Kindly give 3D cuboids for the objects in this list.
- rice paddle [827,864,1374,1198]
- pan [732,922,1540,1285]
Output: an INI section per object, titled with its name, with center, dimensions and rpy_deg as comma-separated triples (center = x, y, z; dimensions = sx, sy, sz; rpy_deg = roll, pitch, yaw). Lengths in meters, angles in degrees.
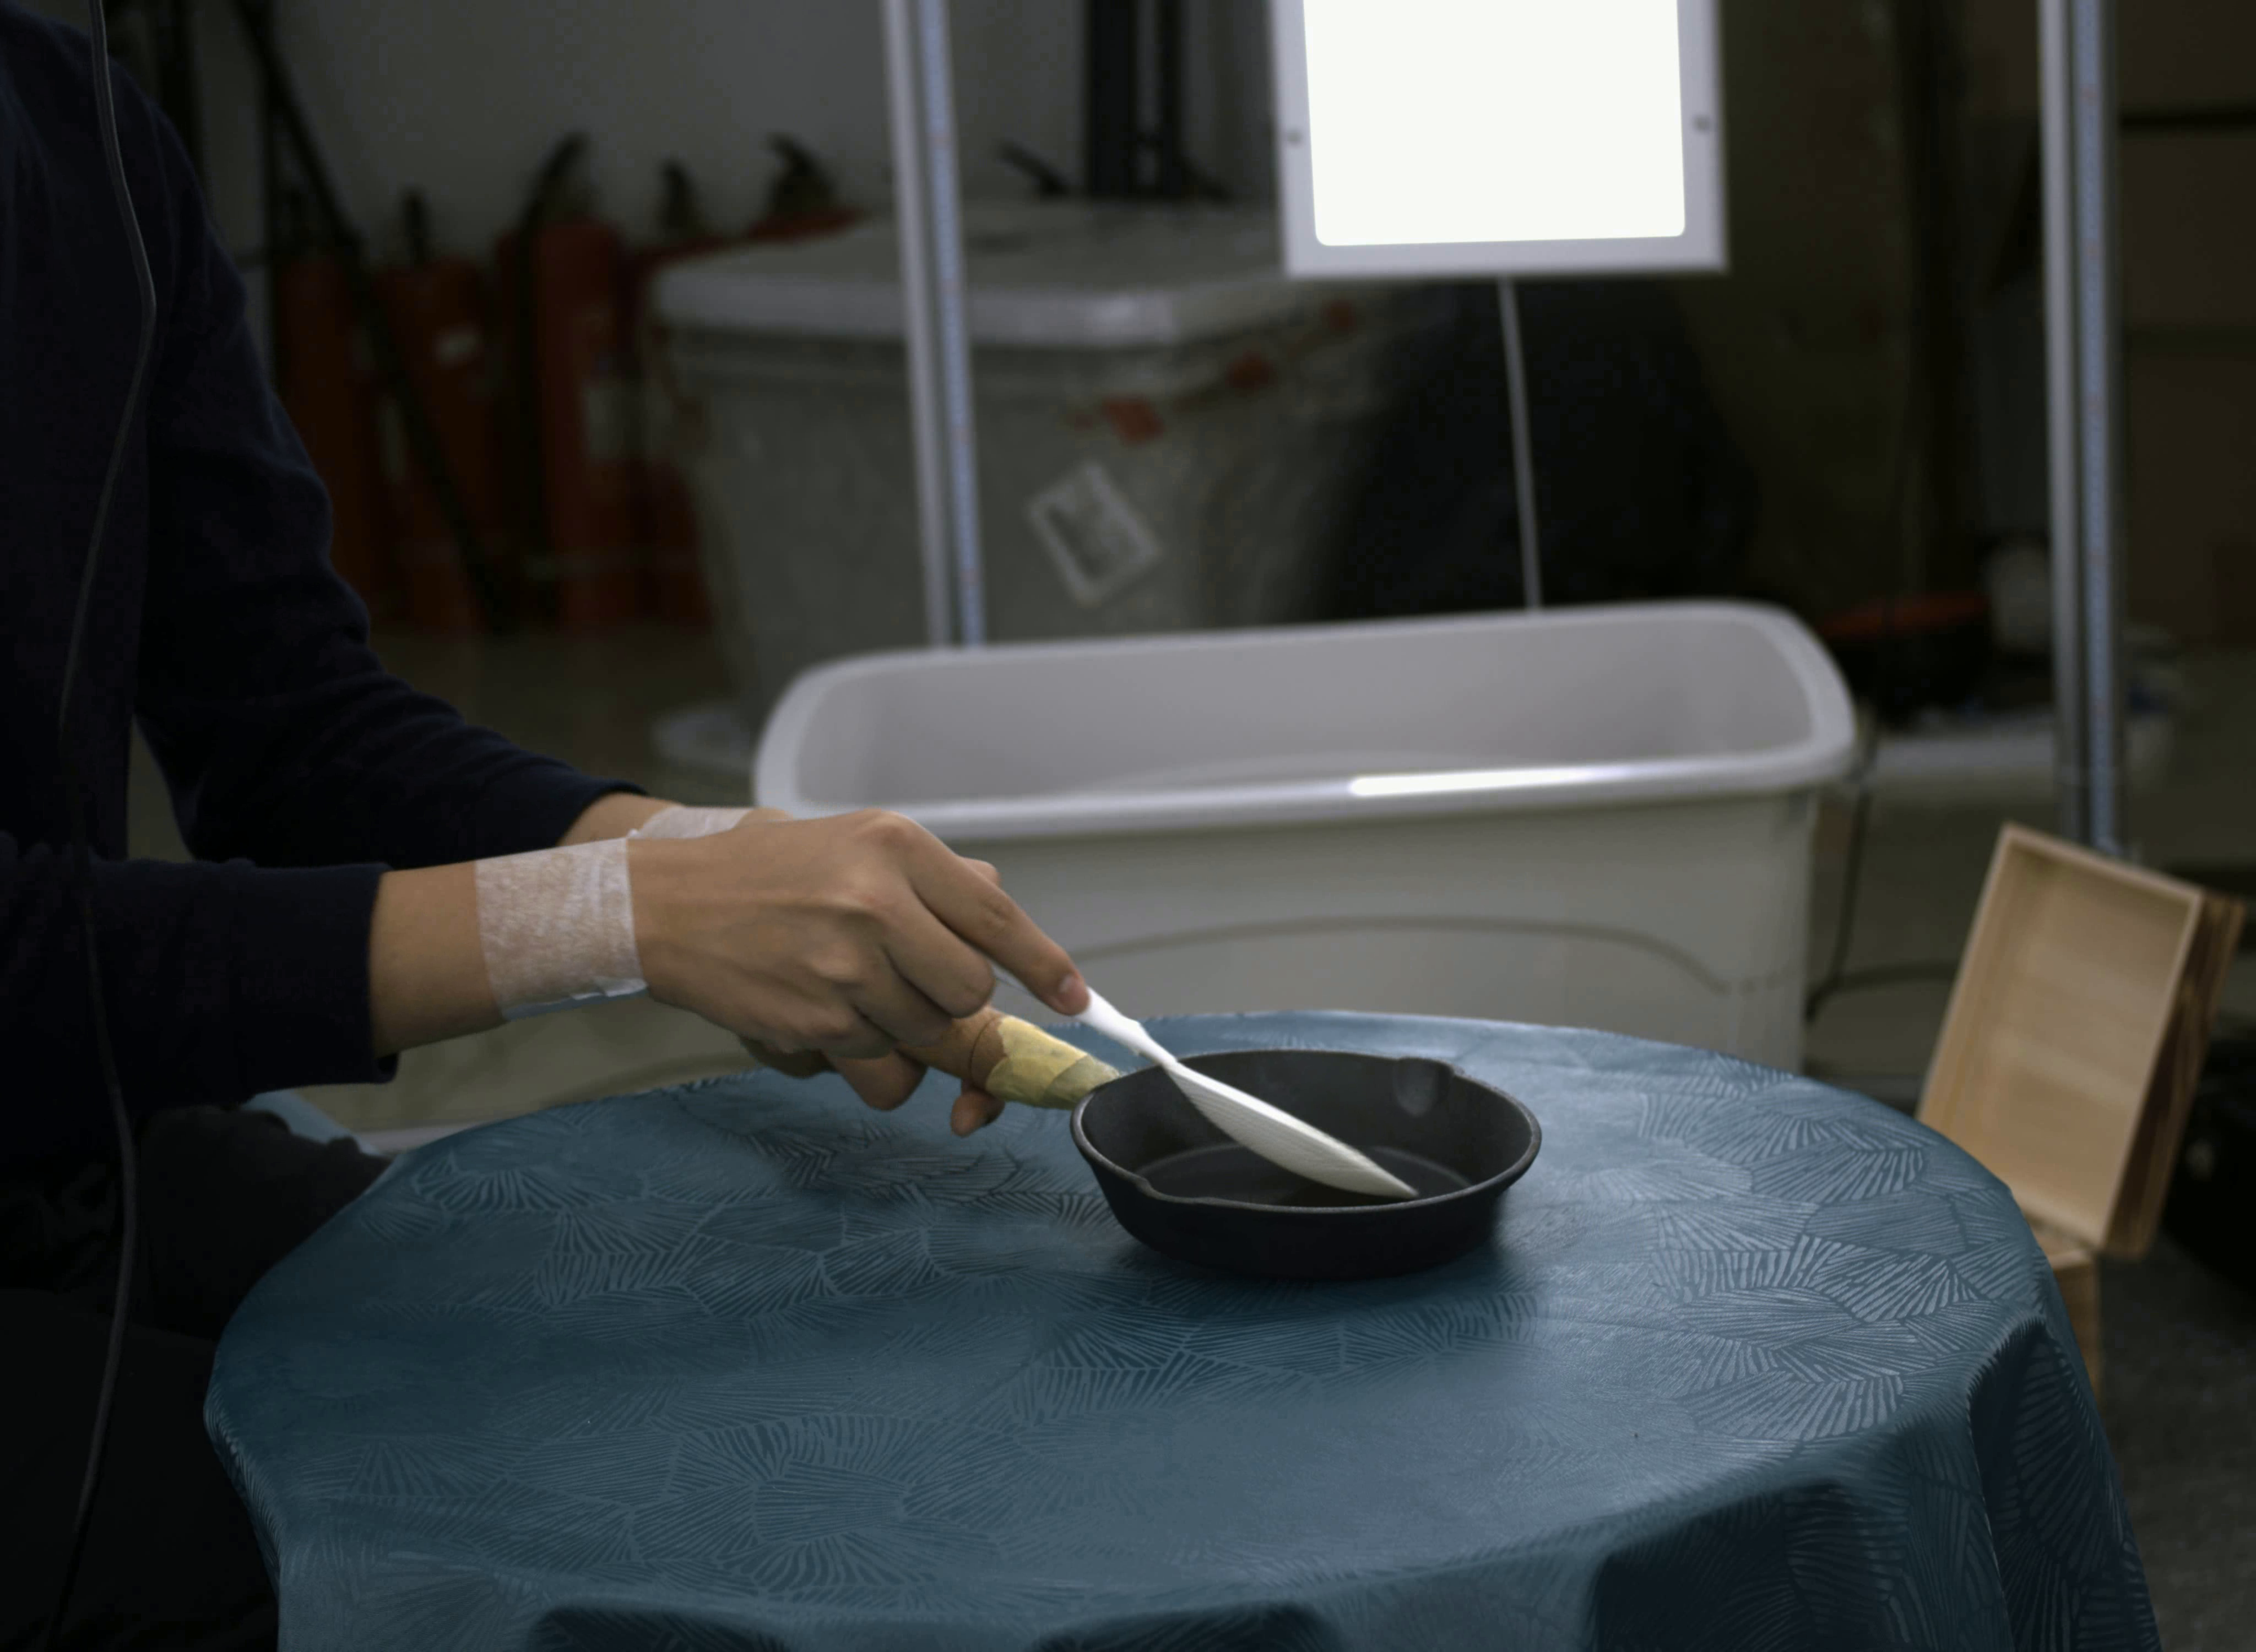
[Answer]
[rice paddle]
center = -0.004, 0.073, 1.833
dimensions = 0.204, 0.029, 0.069
rpy_deg = 29, 1, -8
[pan]
center = -0.008, 0.090, 1.881
dimensions = 0.330, 0.050, 0.164
rpy_deg = 15, 22, 37
